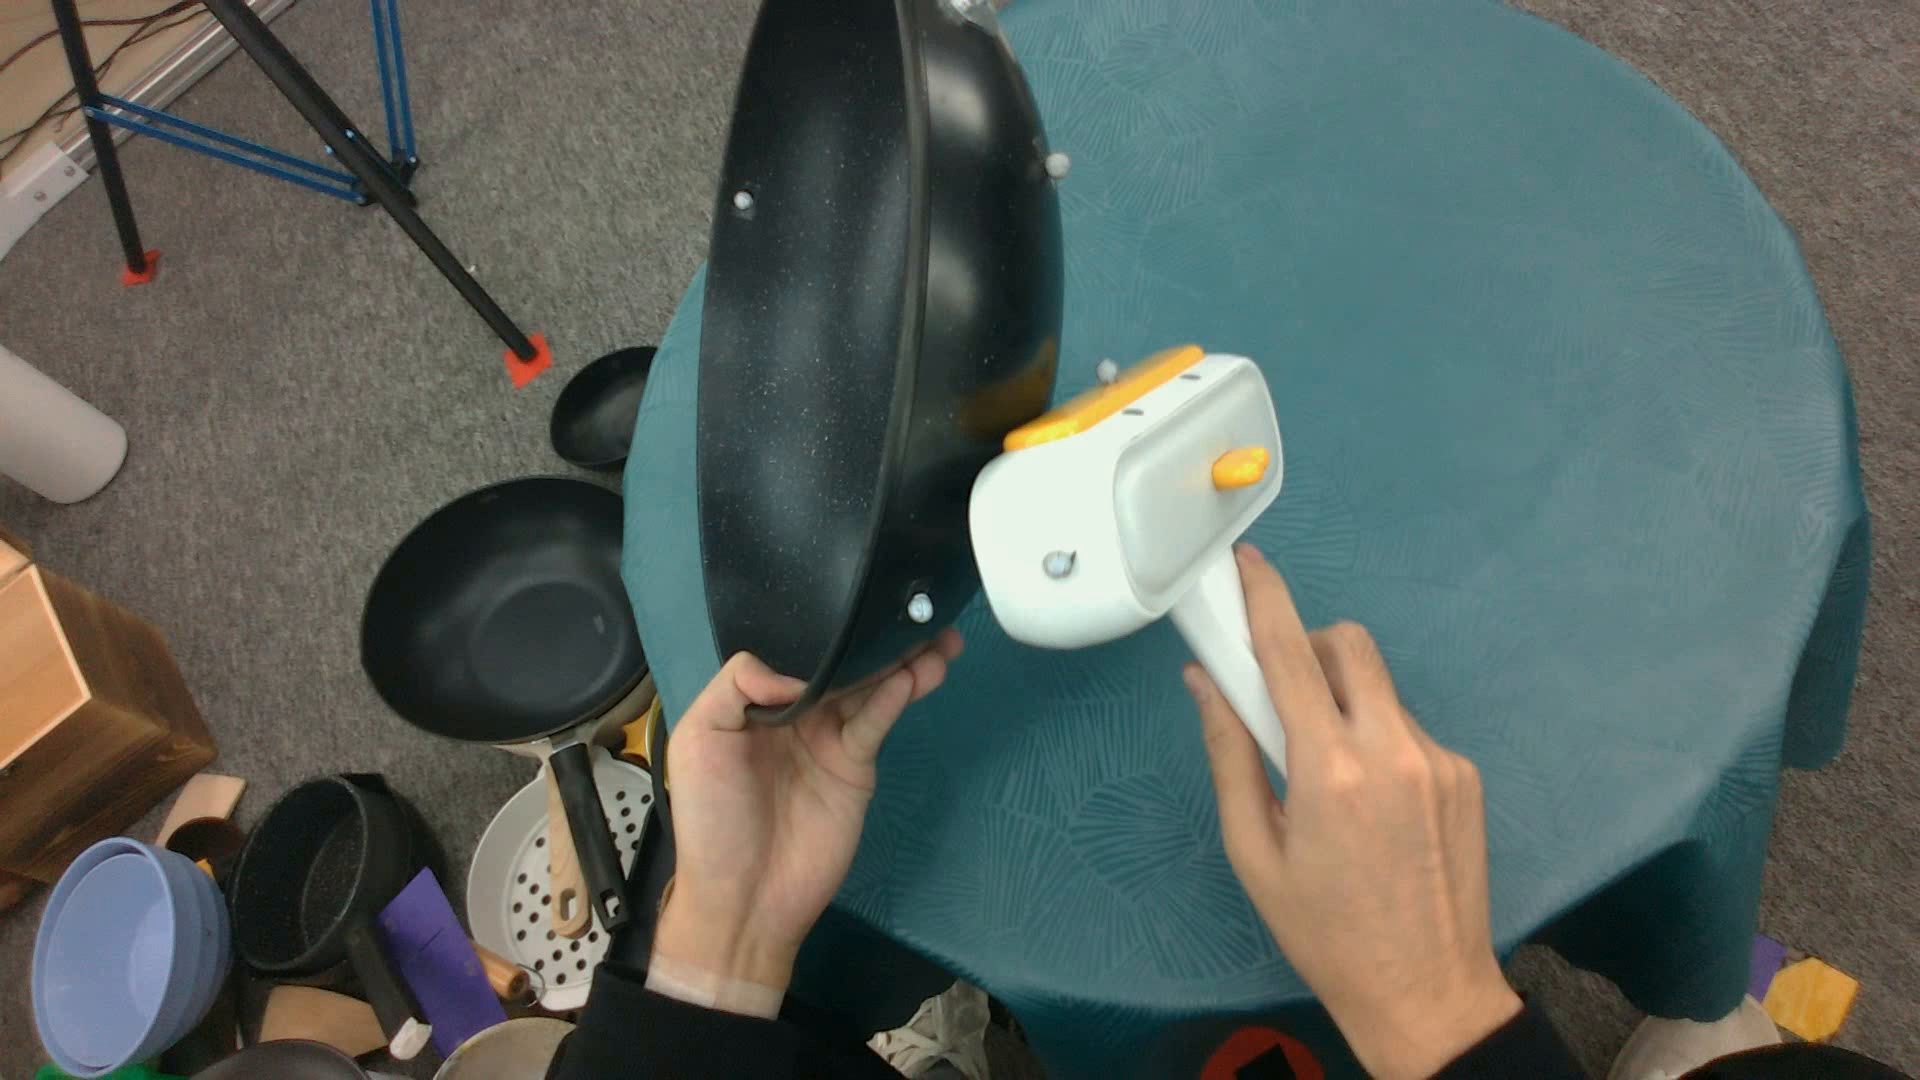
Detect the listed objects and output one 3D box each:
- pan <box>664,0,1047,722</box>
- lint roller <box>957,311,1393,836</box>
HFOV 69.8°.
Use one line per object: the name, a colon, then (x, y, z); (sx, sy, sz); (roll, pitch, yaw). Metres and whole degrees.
pan: (-0.027, -0.142, 0.496); (0.112, 0.474, 0.311); (2, 45, -24)
lint roller: (0.088, 0.022, 0.480); (0.074, 0.194, 0.192); (-21, 102, 27)
